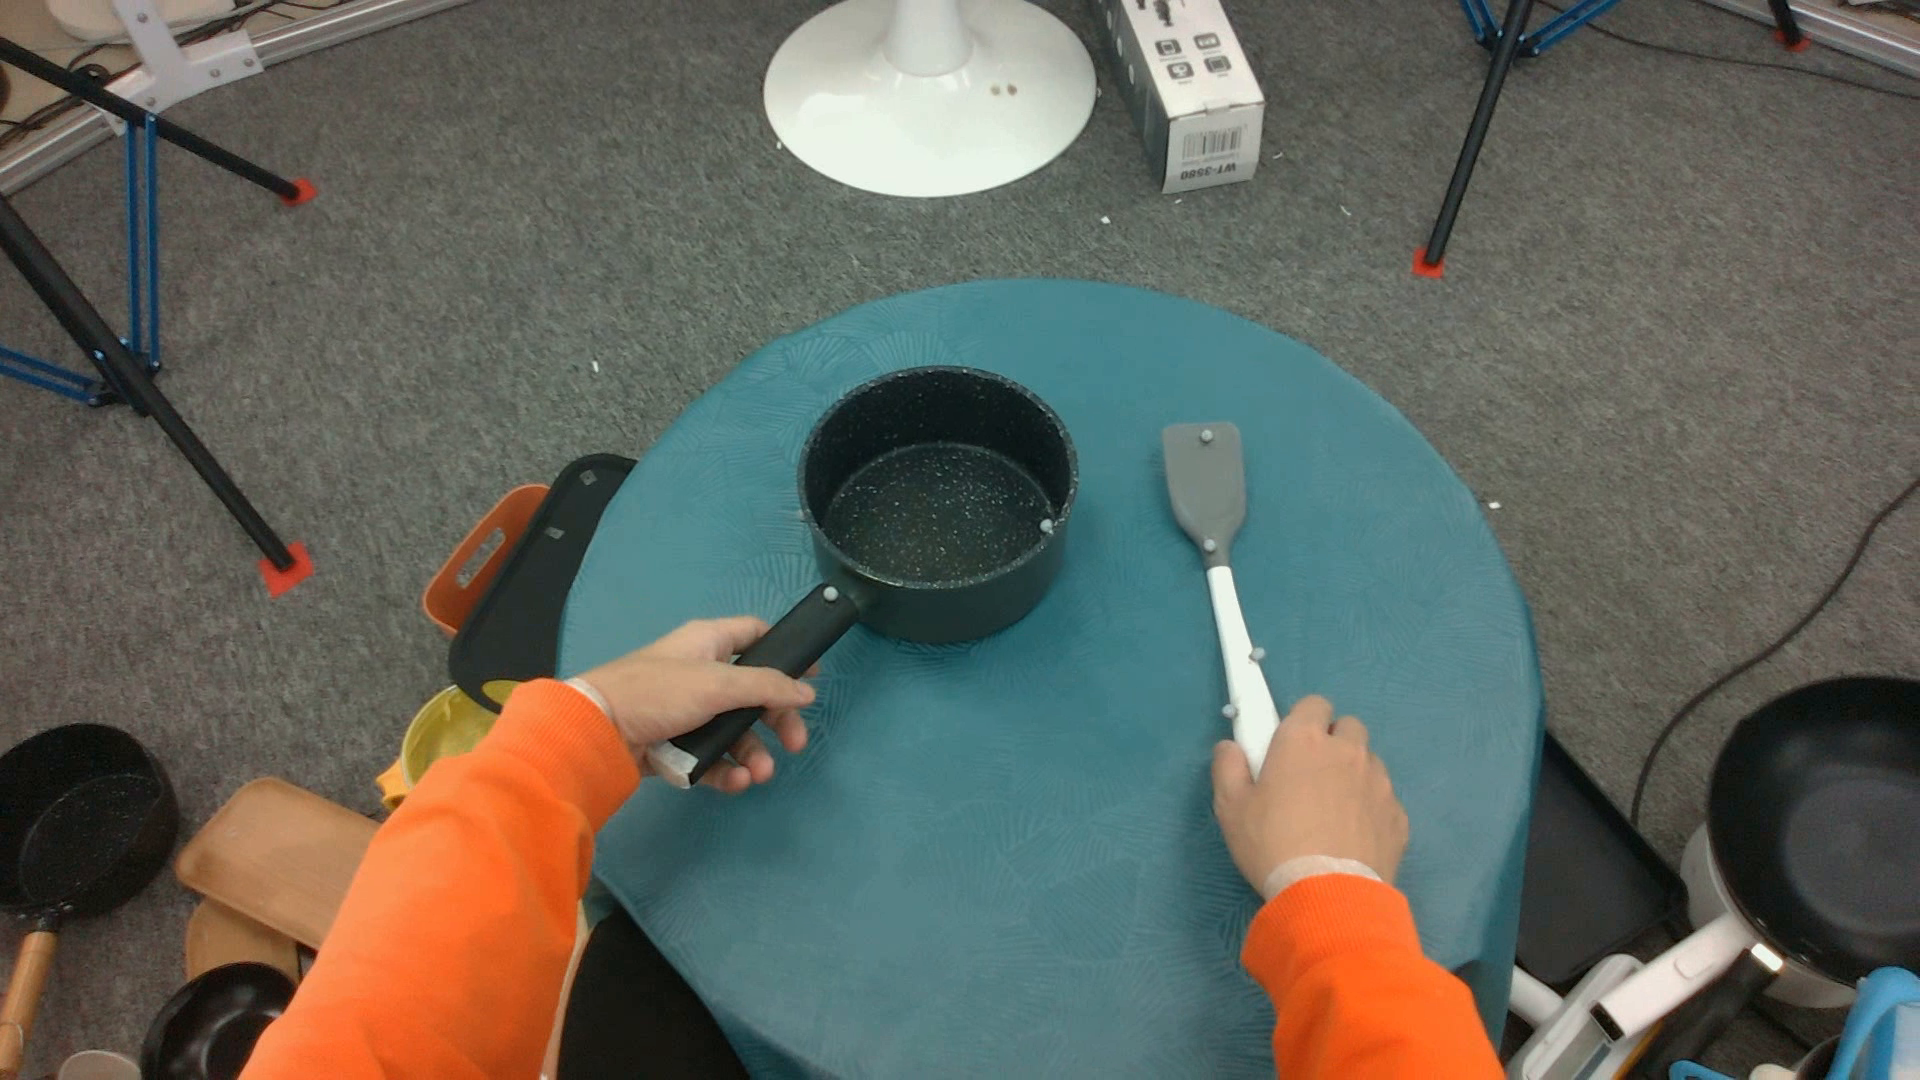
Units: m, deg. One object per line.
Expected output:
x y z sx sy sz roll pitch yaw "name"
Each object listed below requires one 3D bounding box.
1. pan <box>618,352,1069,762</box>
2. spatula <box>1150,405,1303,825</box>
-0.068 0.022 0.820 0.172 0.086 0.330 31 59 21 "pan"
0.163 0.034 0.843 0.058 0.032 0.289 -6 56 2 "spatula"
